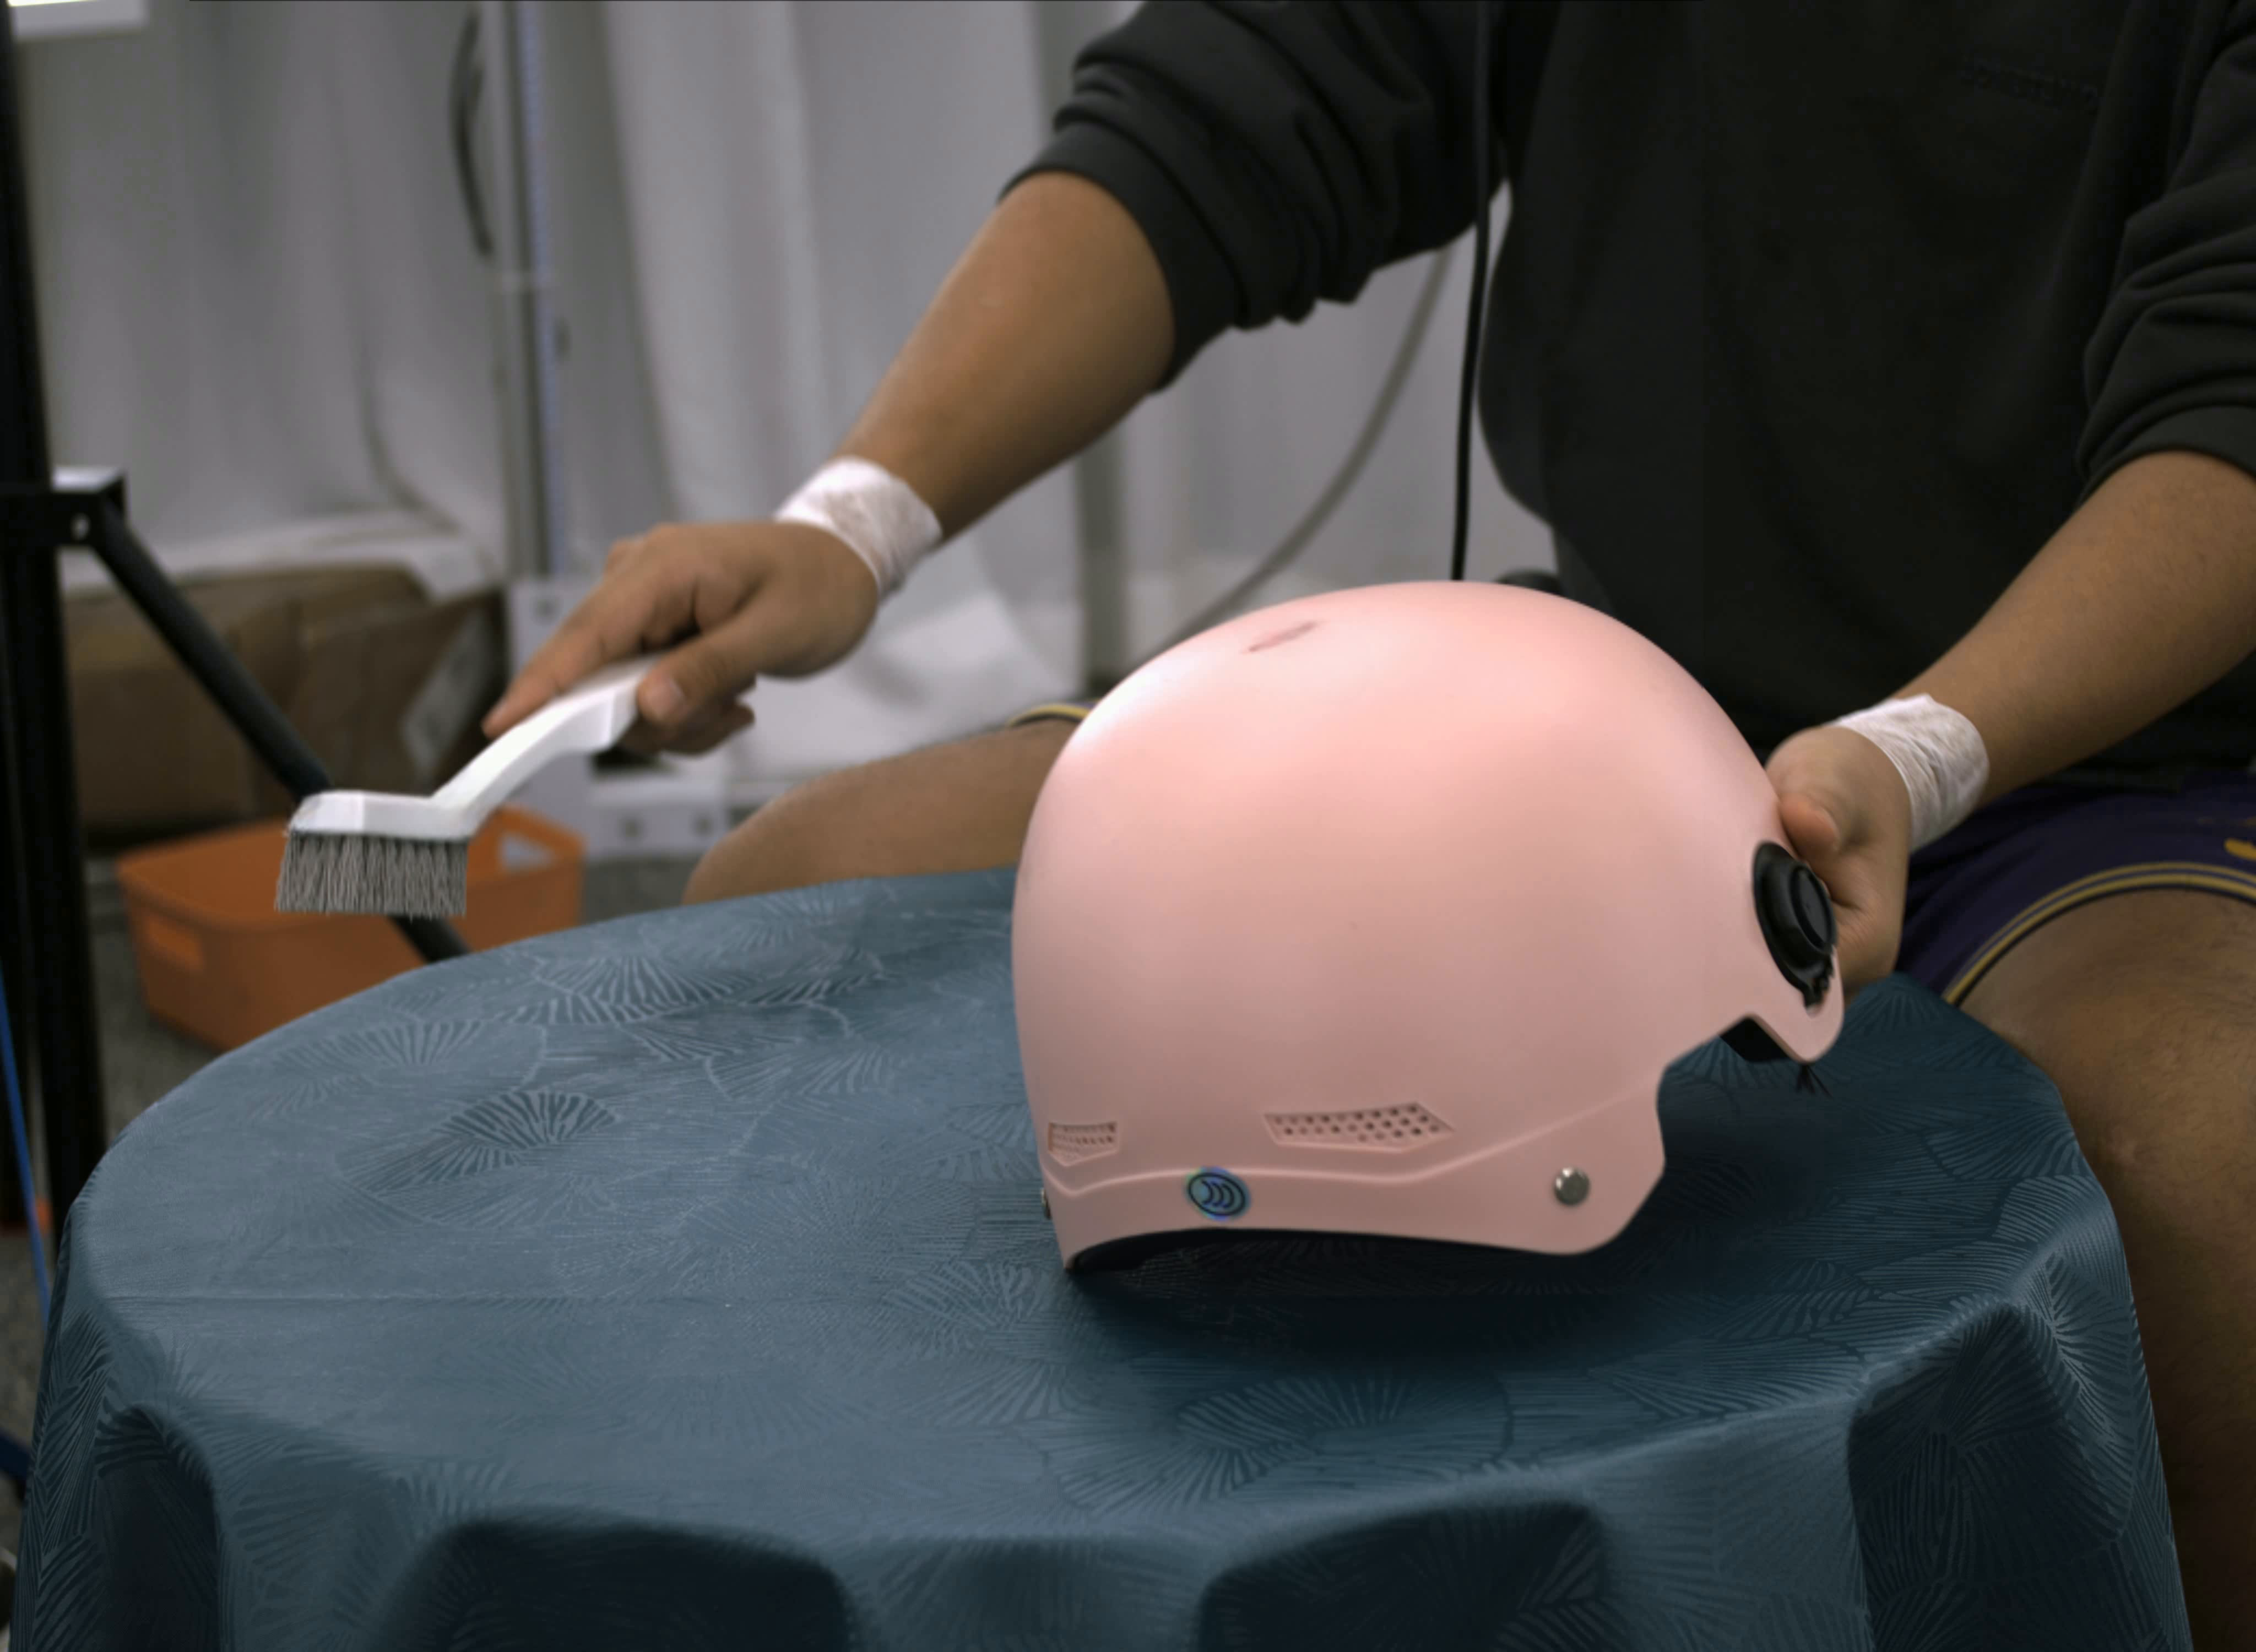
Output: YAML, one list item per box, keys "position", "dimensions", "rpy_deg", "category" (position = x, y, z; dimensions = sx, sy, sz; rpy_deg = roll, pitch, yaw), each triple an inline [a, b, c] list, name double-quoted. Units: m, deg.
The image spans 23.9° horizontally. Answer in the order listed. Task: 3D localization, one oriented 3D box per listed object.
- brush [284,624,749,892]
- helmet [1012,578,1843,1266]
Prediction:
- position: [-0.187, -0.019, 1.696]
  dimensions: [0.035, 0.050, 0.239]
  rpy_deg: [-3, 12, 30]
  category: "brush"
- position: [0.073, 0.009, 1.498]
  dimensions: [0.238, 0.158, 0.262]
  rpy_deg: [-7, 18, 36]
  category: "helmet"
